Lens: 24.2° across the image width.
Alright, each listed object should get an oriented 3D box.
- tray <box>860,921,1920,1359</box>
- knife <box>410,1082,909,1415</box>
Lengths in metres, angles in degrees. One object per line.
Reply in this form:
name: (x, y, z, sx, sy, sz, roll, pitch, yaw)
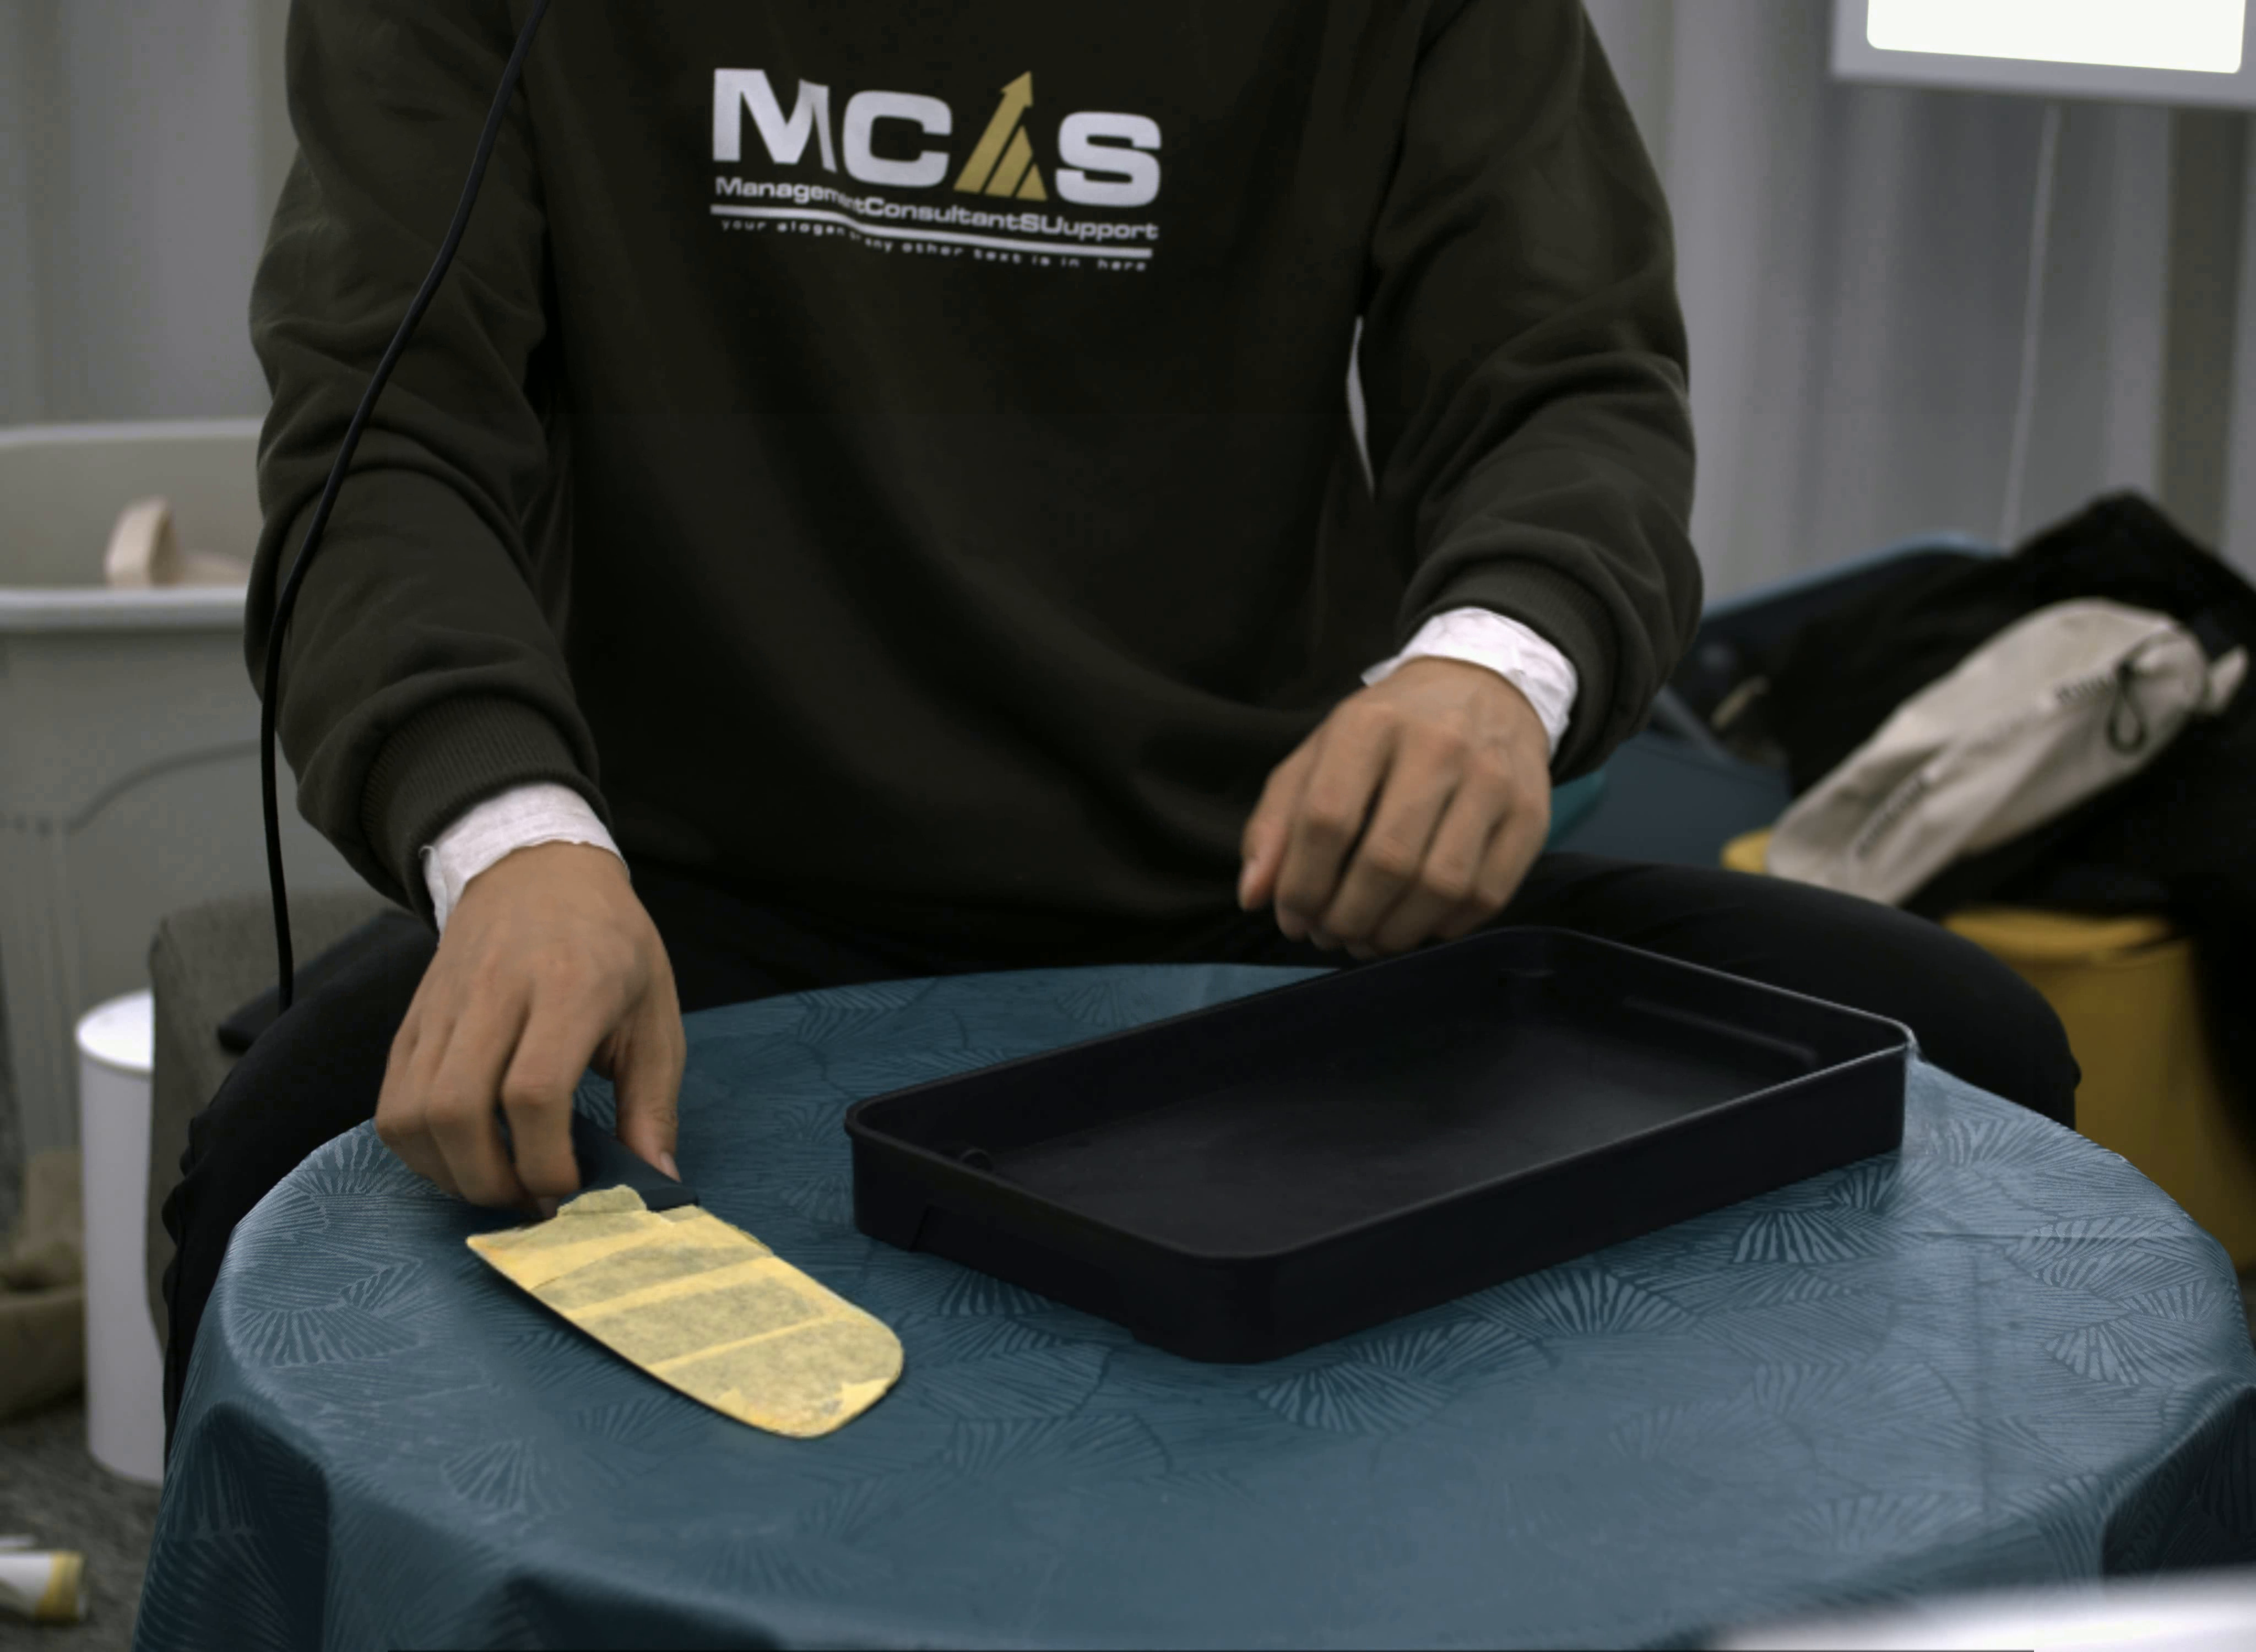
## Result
tray: (0.086, 0.091, 1.637, 0.182, 0.037, 0.319, 14, 21, 43)
knife: (-0.151, 0.125, 1.548, 0.081, 0.027, 0.285, -8, 18, -32)
